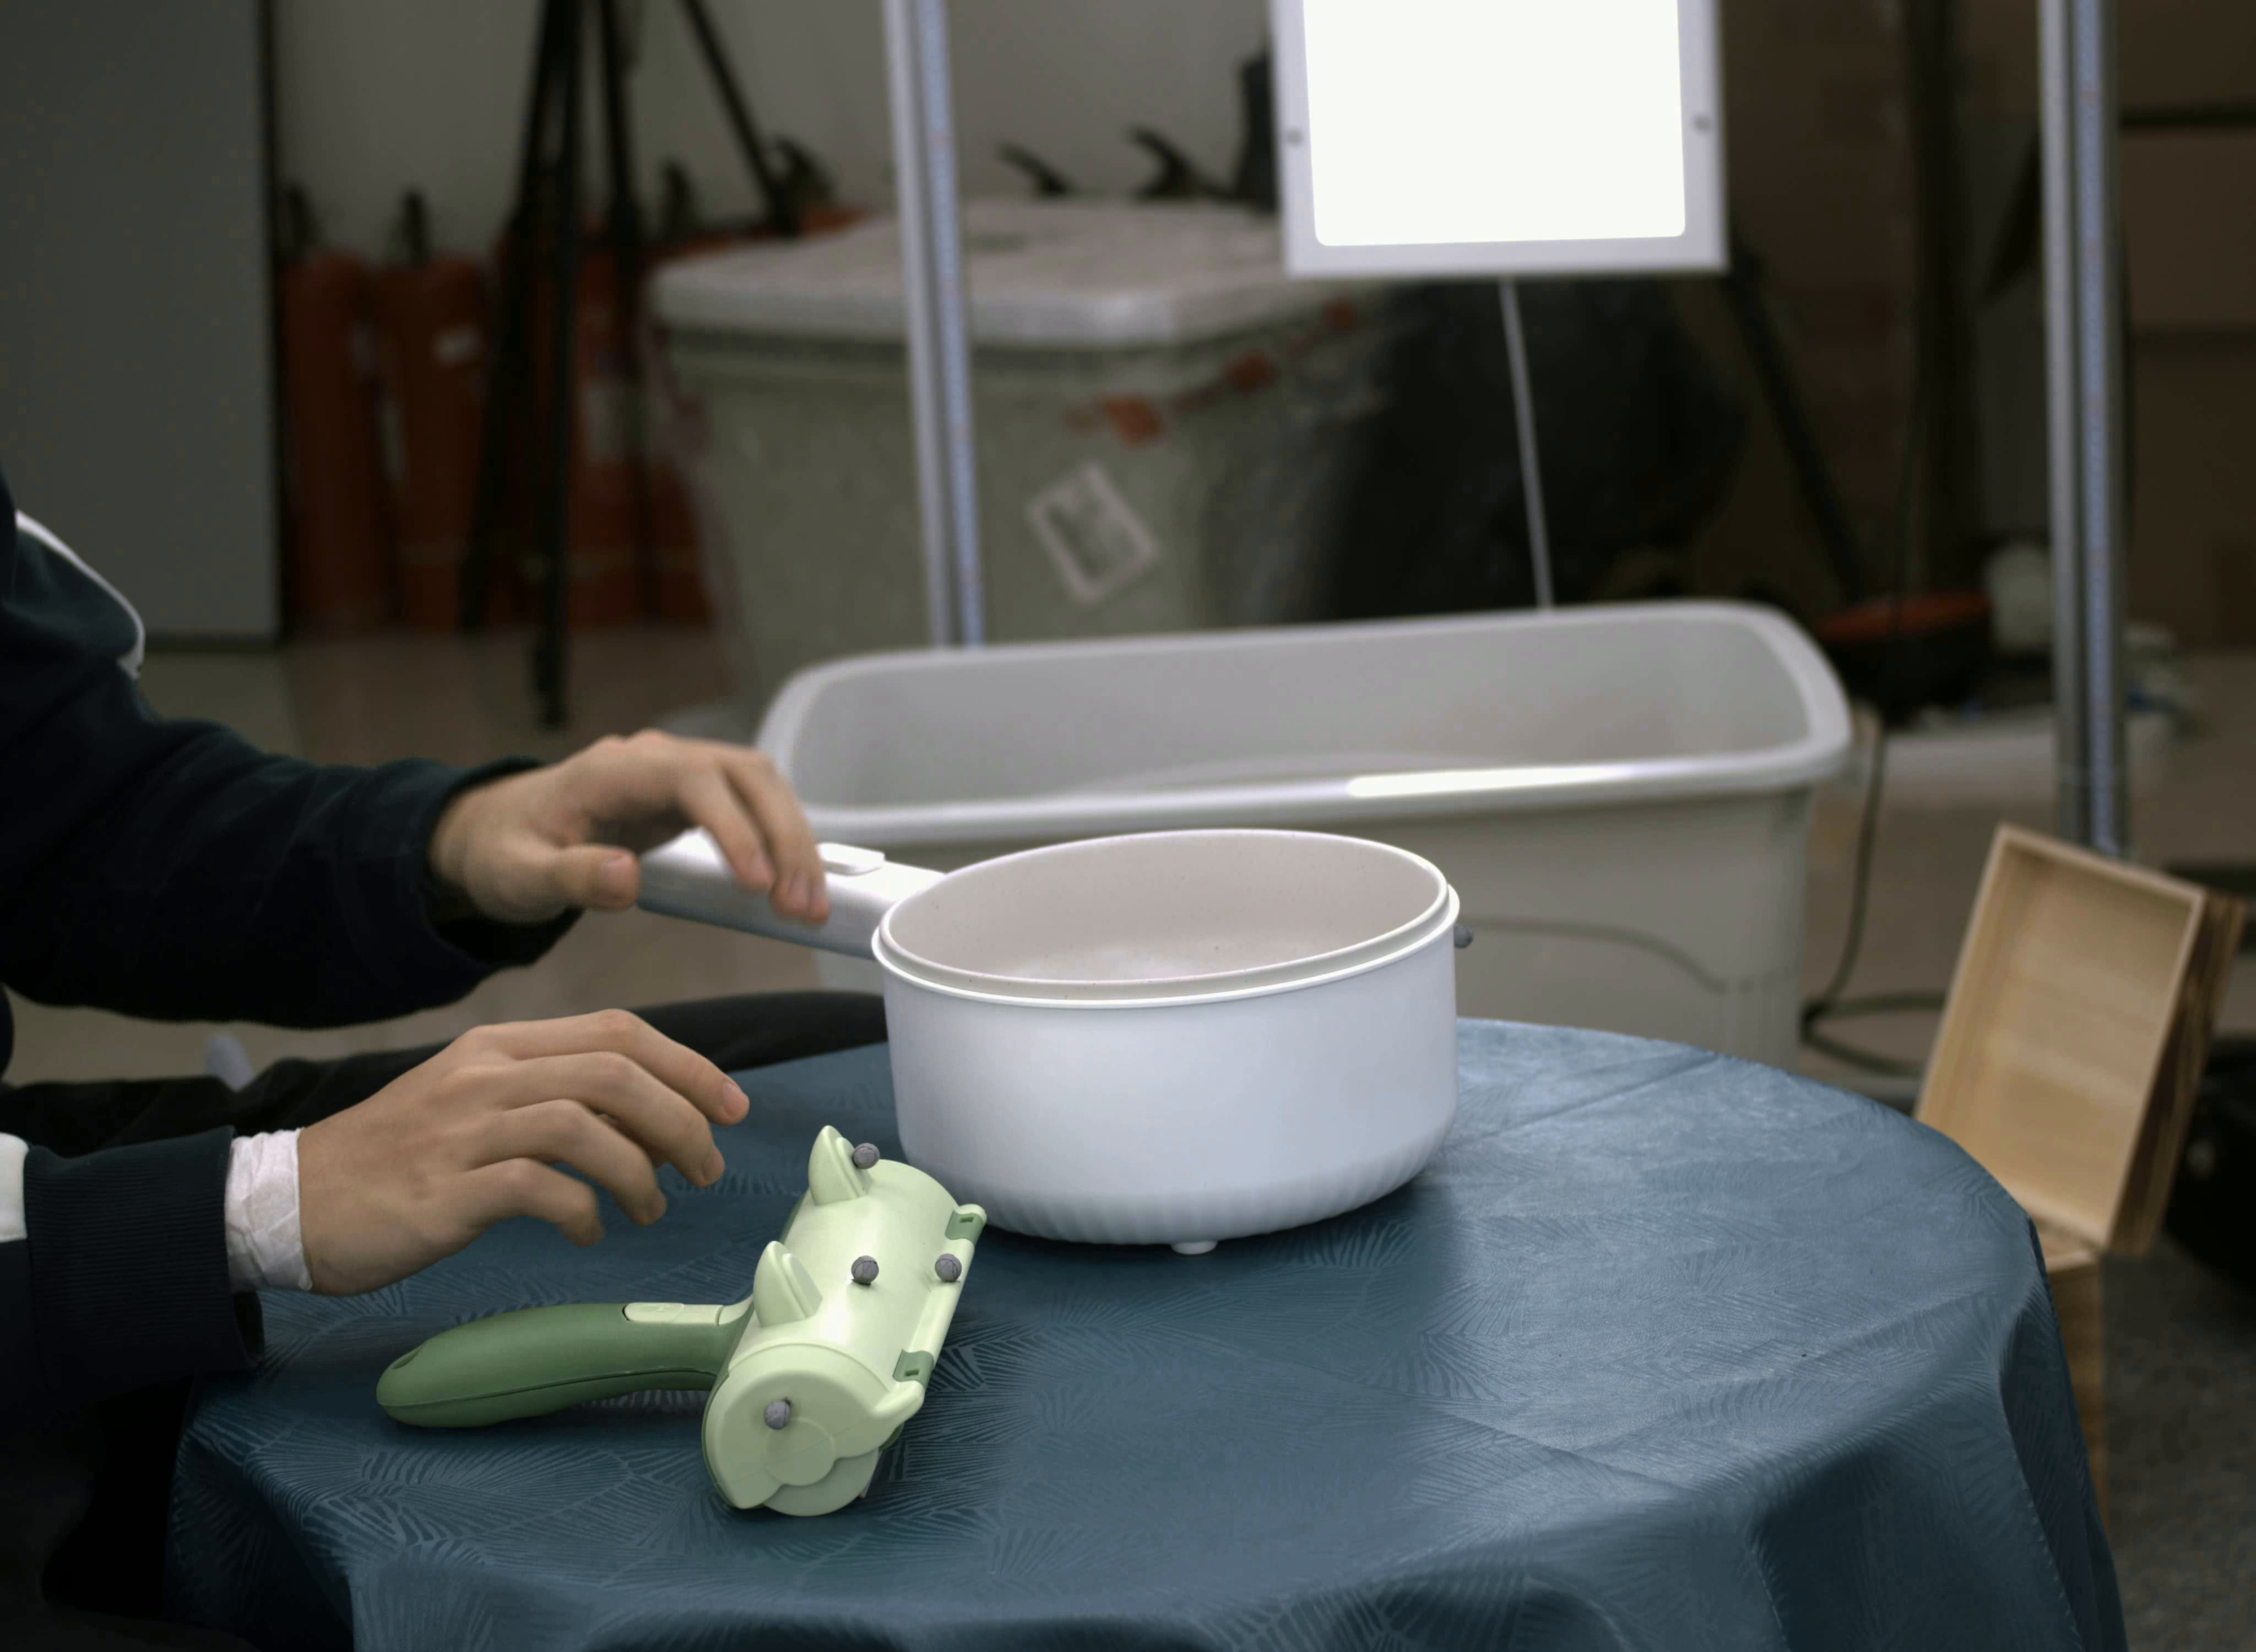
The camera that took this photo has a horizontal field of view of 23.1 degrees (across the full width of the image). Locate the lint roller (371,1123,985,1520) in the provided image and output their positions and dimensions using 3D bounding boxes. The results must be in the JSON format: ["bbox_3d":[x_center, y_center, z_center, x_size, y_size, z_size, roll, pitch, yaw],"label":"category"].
[{"bbox_3d":[-0.144,0.147,1.706,0.184,0.082,0.197,2,15,6],"label":"lint roller"}]

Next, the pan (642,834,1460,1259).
[{"bbox_3d":[-0.039,0.069,1.942,0.362,0.102,0.196,8,19,44],"label":"pan"}]
